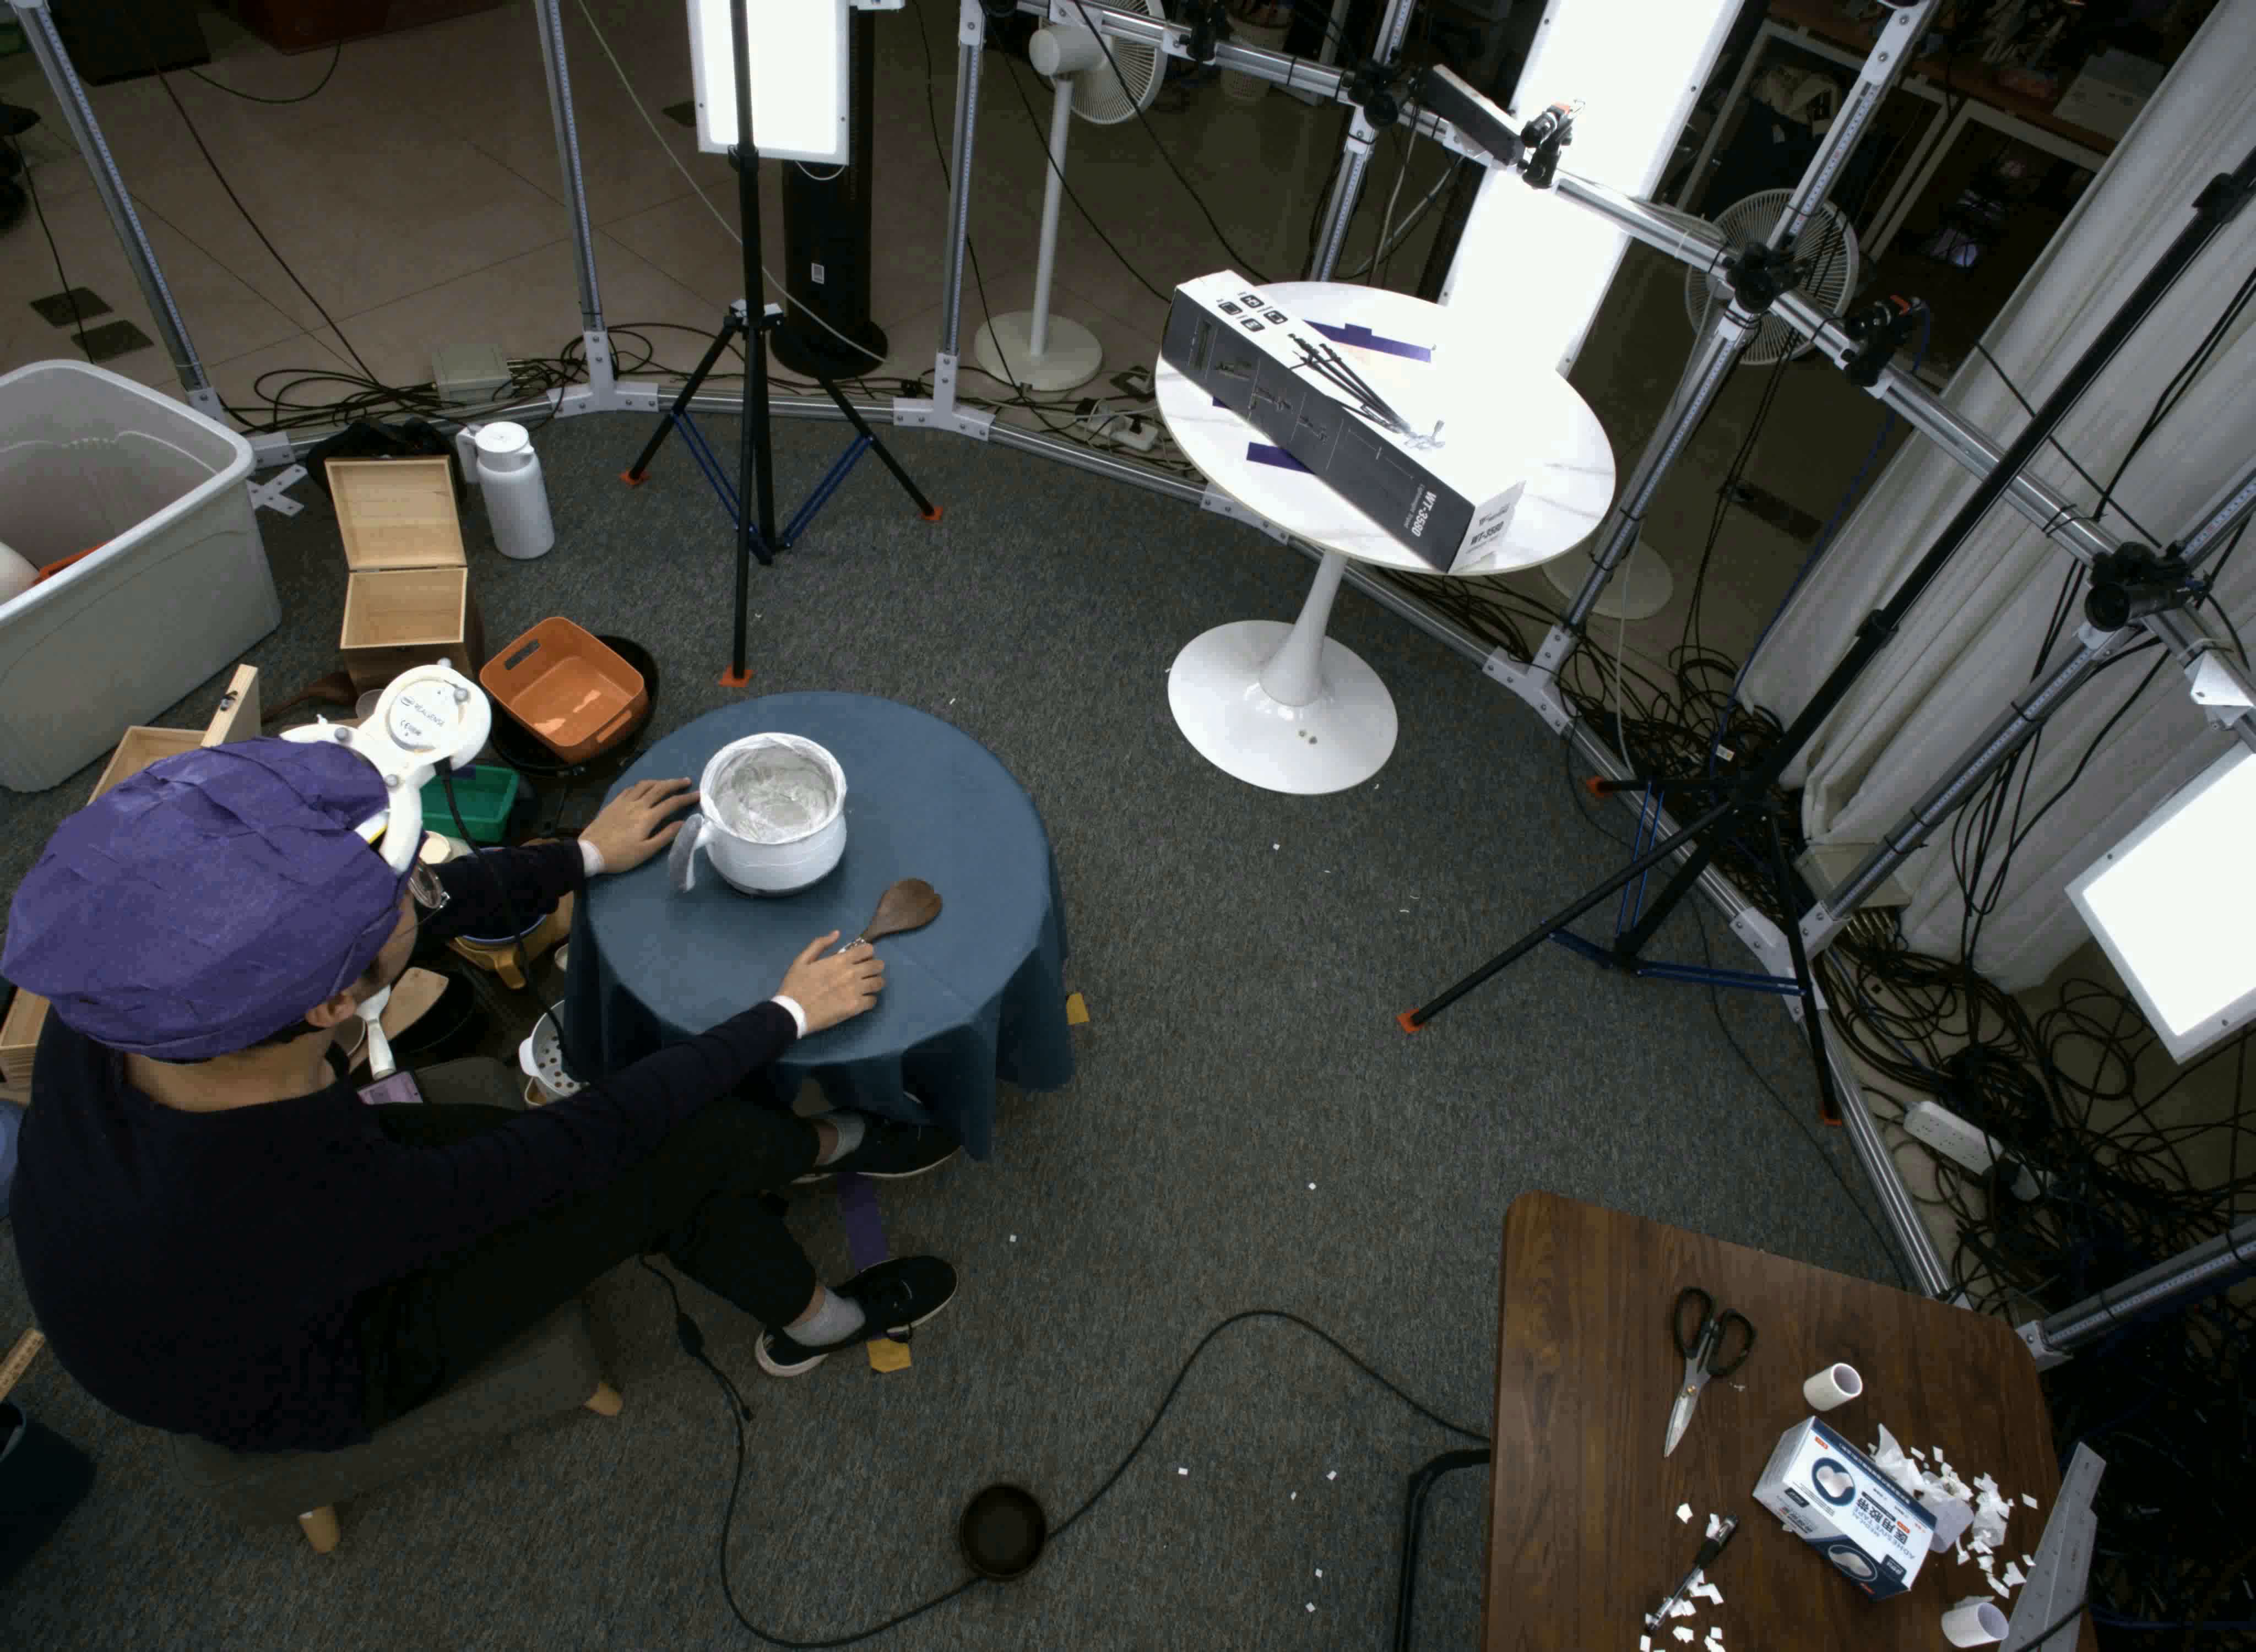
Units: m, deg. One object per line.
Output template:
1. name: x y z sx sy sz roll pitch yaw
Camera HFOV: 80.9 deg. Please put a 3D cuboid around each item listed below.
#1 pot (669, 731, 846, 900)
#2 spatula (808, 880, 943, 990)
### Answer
1. pot: -0.470 -0.001 1.634 0.235 0.140 0.174 -29 61 -31
2. spatula: -0.326 0.136 1.656 0.070 0.009 0.216 38 55 17
